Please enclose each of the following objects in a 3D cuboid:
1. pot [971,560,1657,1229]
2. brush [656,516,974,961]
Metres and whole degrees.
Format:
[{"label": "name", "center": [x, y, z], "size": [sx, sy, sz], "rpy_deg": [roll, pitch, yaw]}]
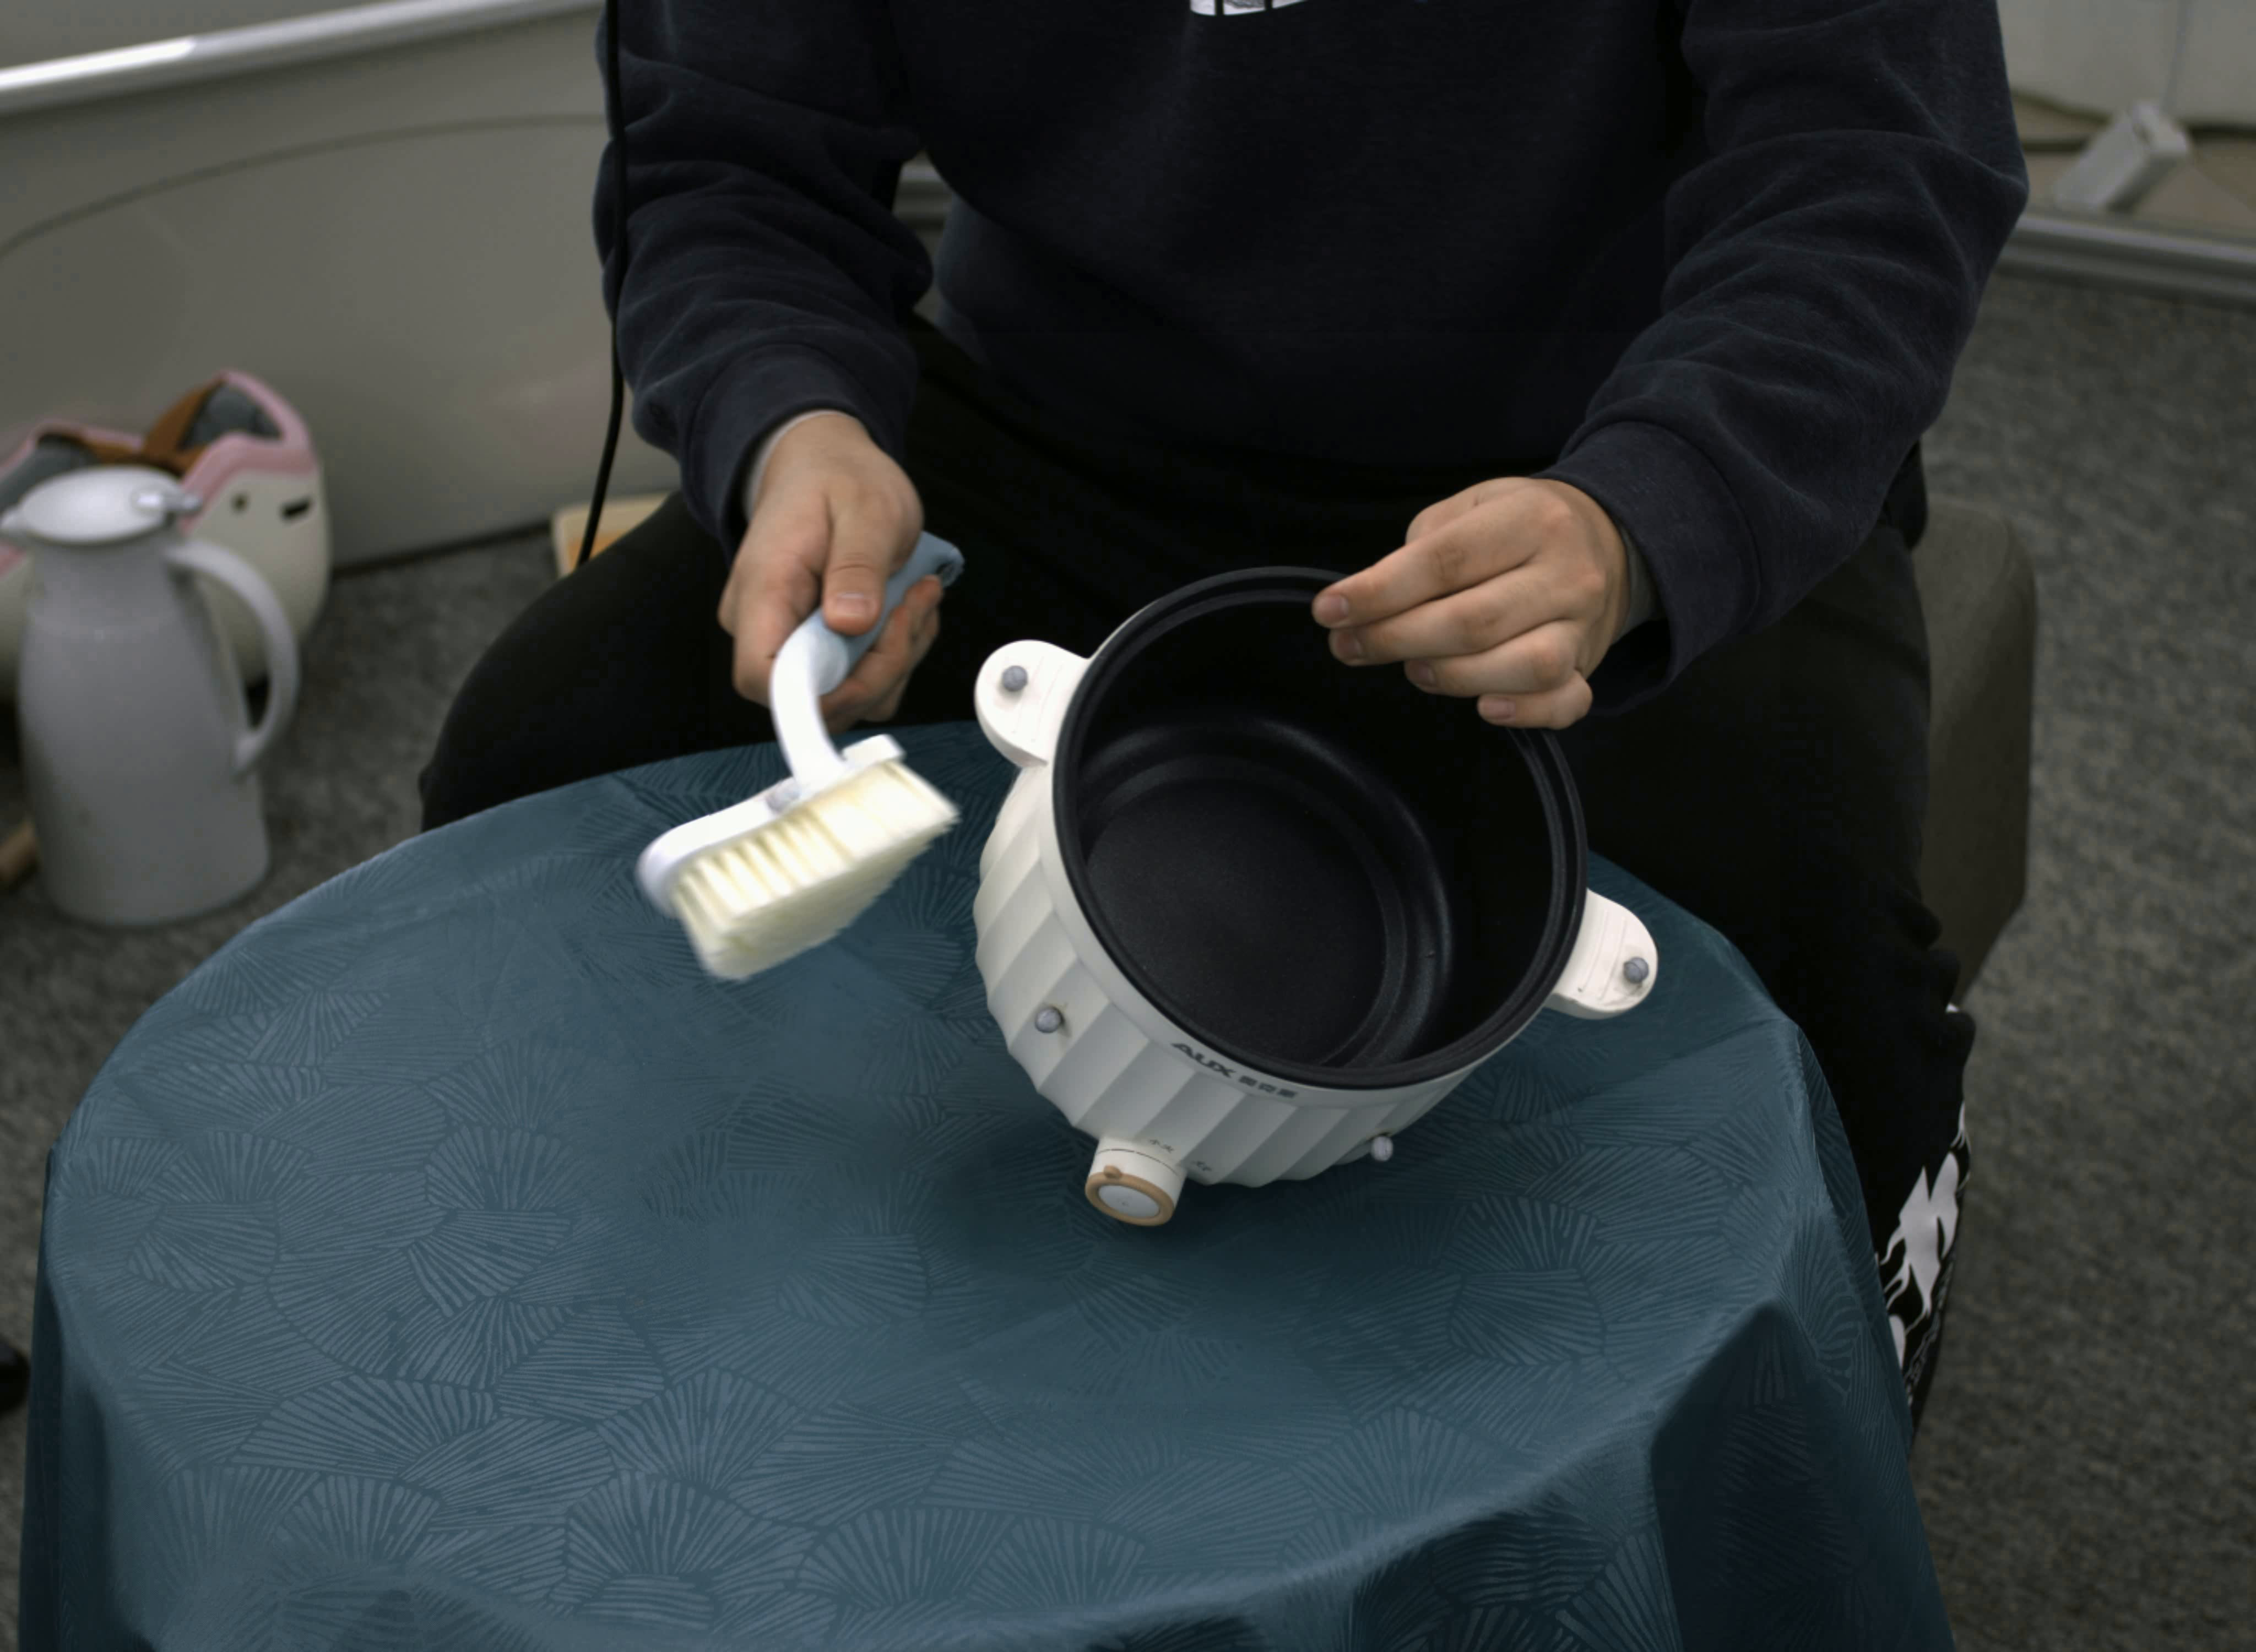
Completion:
[{"label": "pot", "center": [0.041, 0.029, 1.845], "size": [0.239, 0.140, 0.194], "rpy_deg": [23, 56, -7]}, {"label": "brush", "center": [-0.080, -0.029, 1.955], "size": [0.082, 0.084, 0.330], "rpy_deg": [-8, 18, 17]}]
